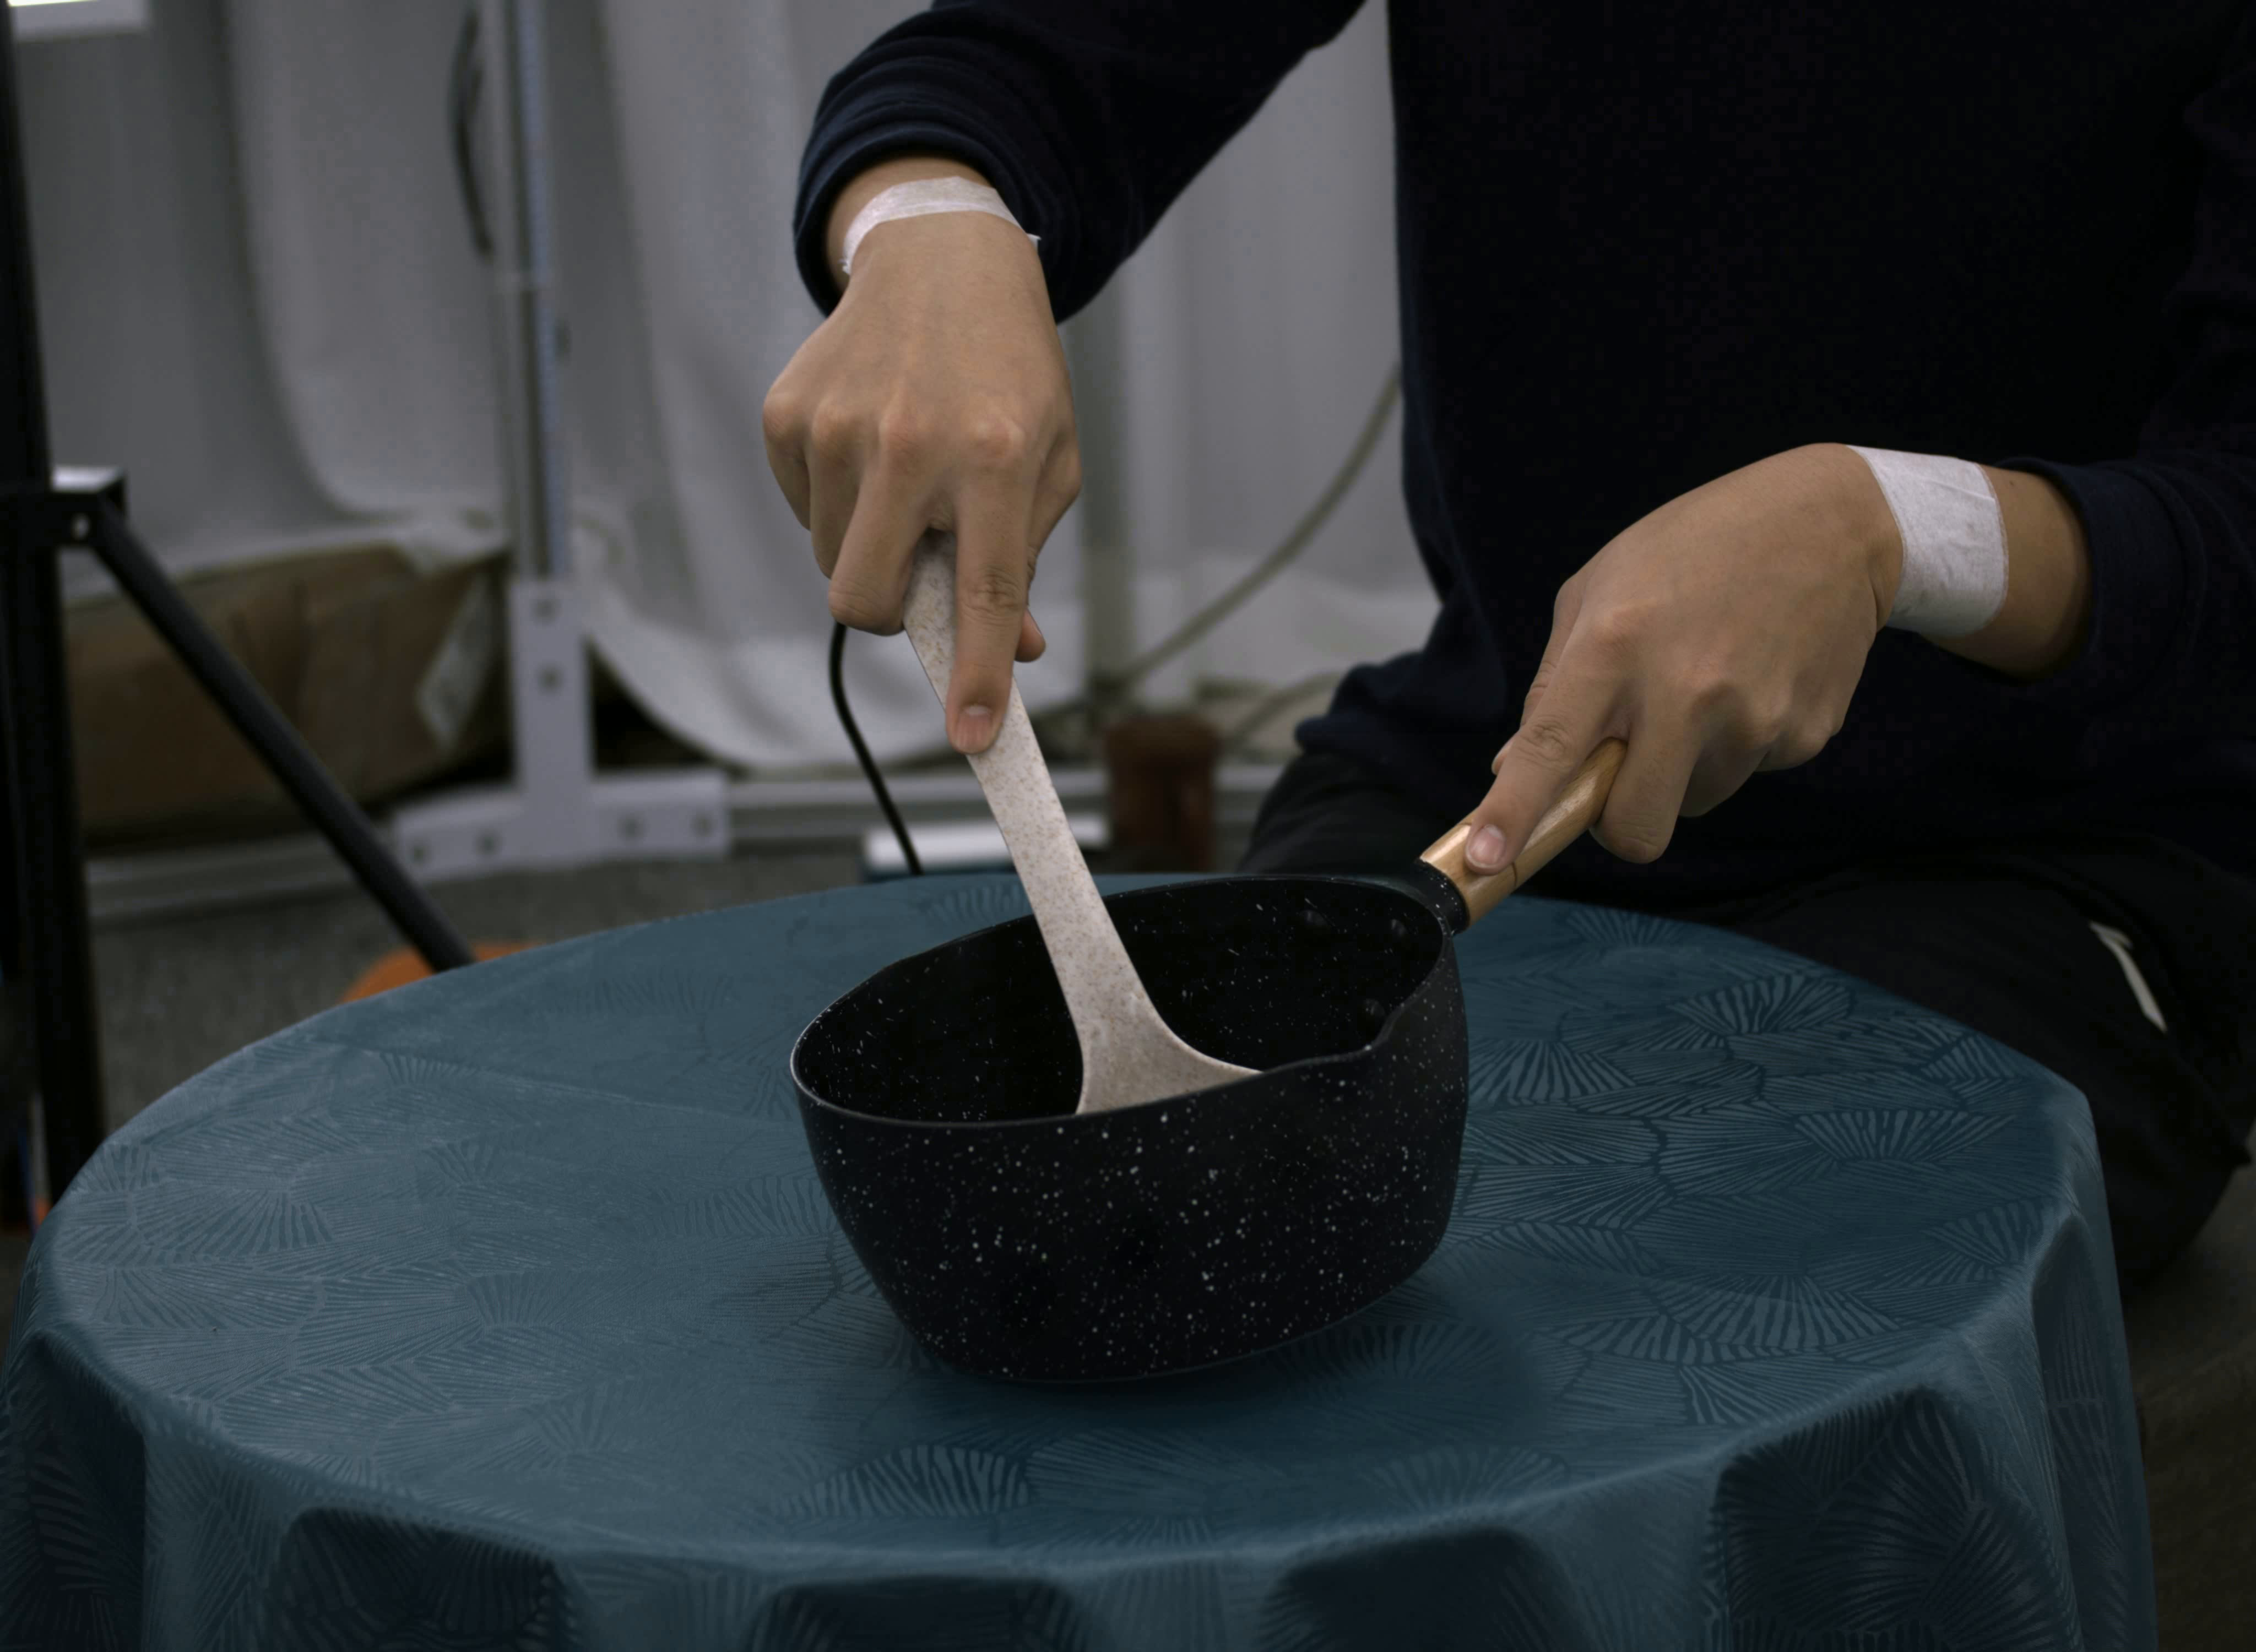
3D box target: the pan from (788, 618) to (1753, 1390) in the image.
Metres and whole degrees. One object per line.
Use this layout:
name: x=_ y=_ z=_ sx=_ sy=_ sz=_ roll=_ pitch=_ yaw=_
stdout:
pan: x=0.061 y=0.047 z=1.492 sx=0.336 sy=0.108 sz=0.212 roll=-26 pitch=20 yaw=-35

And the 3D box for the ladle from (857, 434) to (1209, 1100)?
ladle: x=-0.026 y=-0.001 z=1.484 sx=0.089 sy=0.278 sz=0.068 roll=-24 pitch=-20 yaw=3
